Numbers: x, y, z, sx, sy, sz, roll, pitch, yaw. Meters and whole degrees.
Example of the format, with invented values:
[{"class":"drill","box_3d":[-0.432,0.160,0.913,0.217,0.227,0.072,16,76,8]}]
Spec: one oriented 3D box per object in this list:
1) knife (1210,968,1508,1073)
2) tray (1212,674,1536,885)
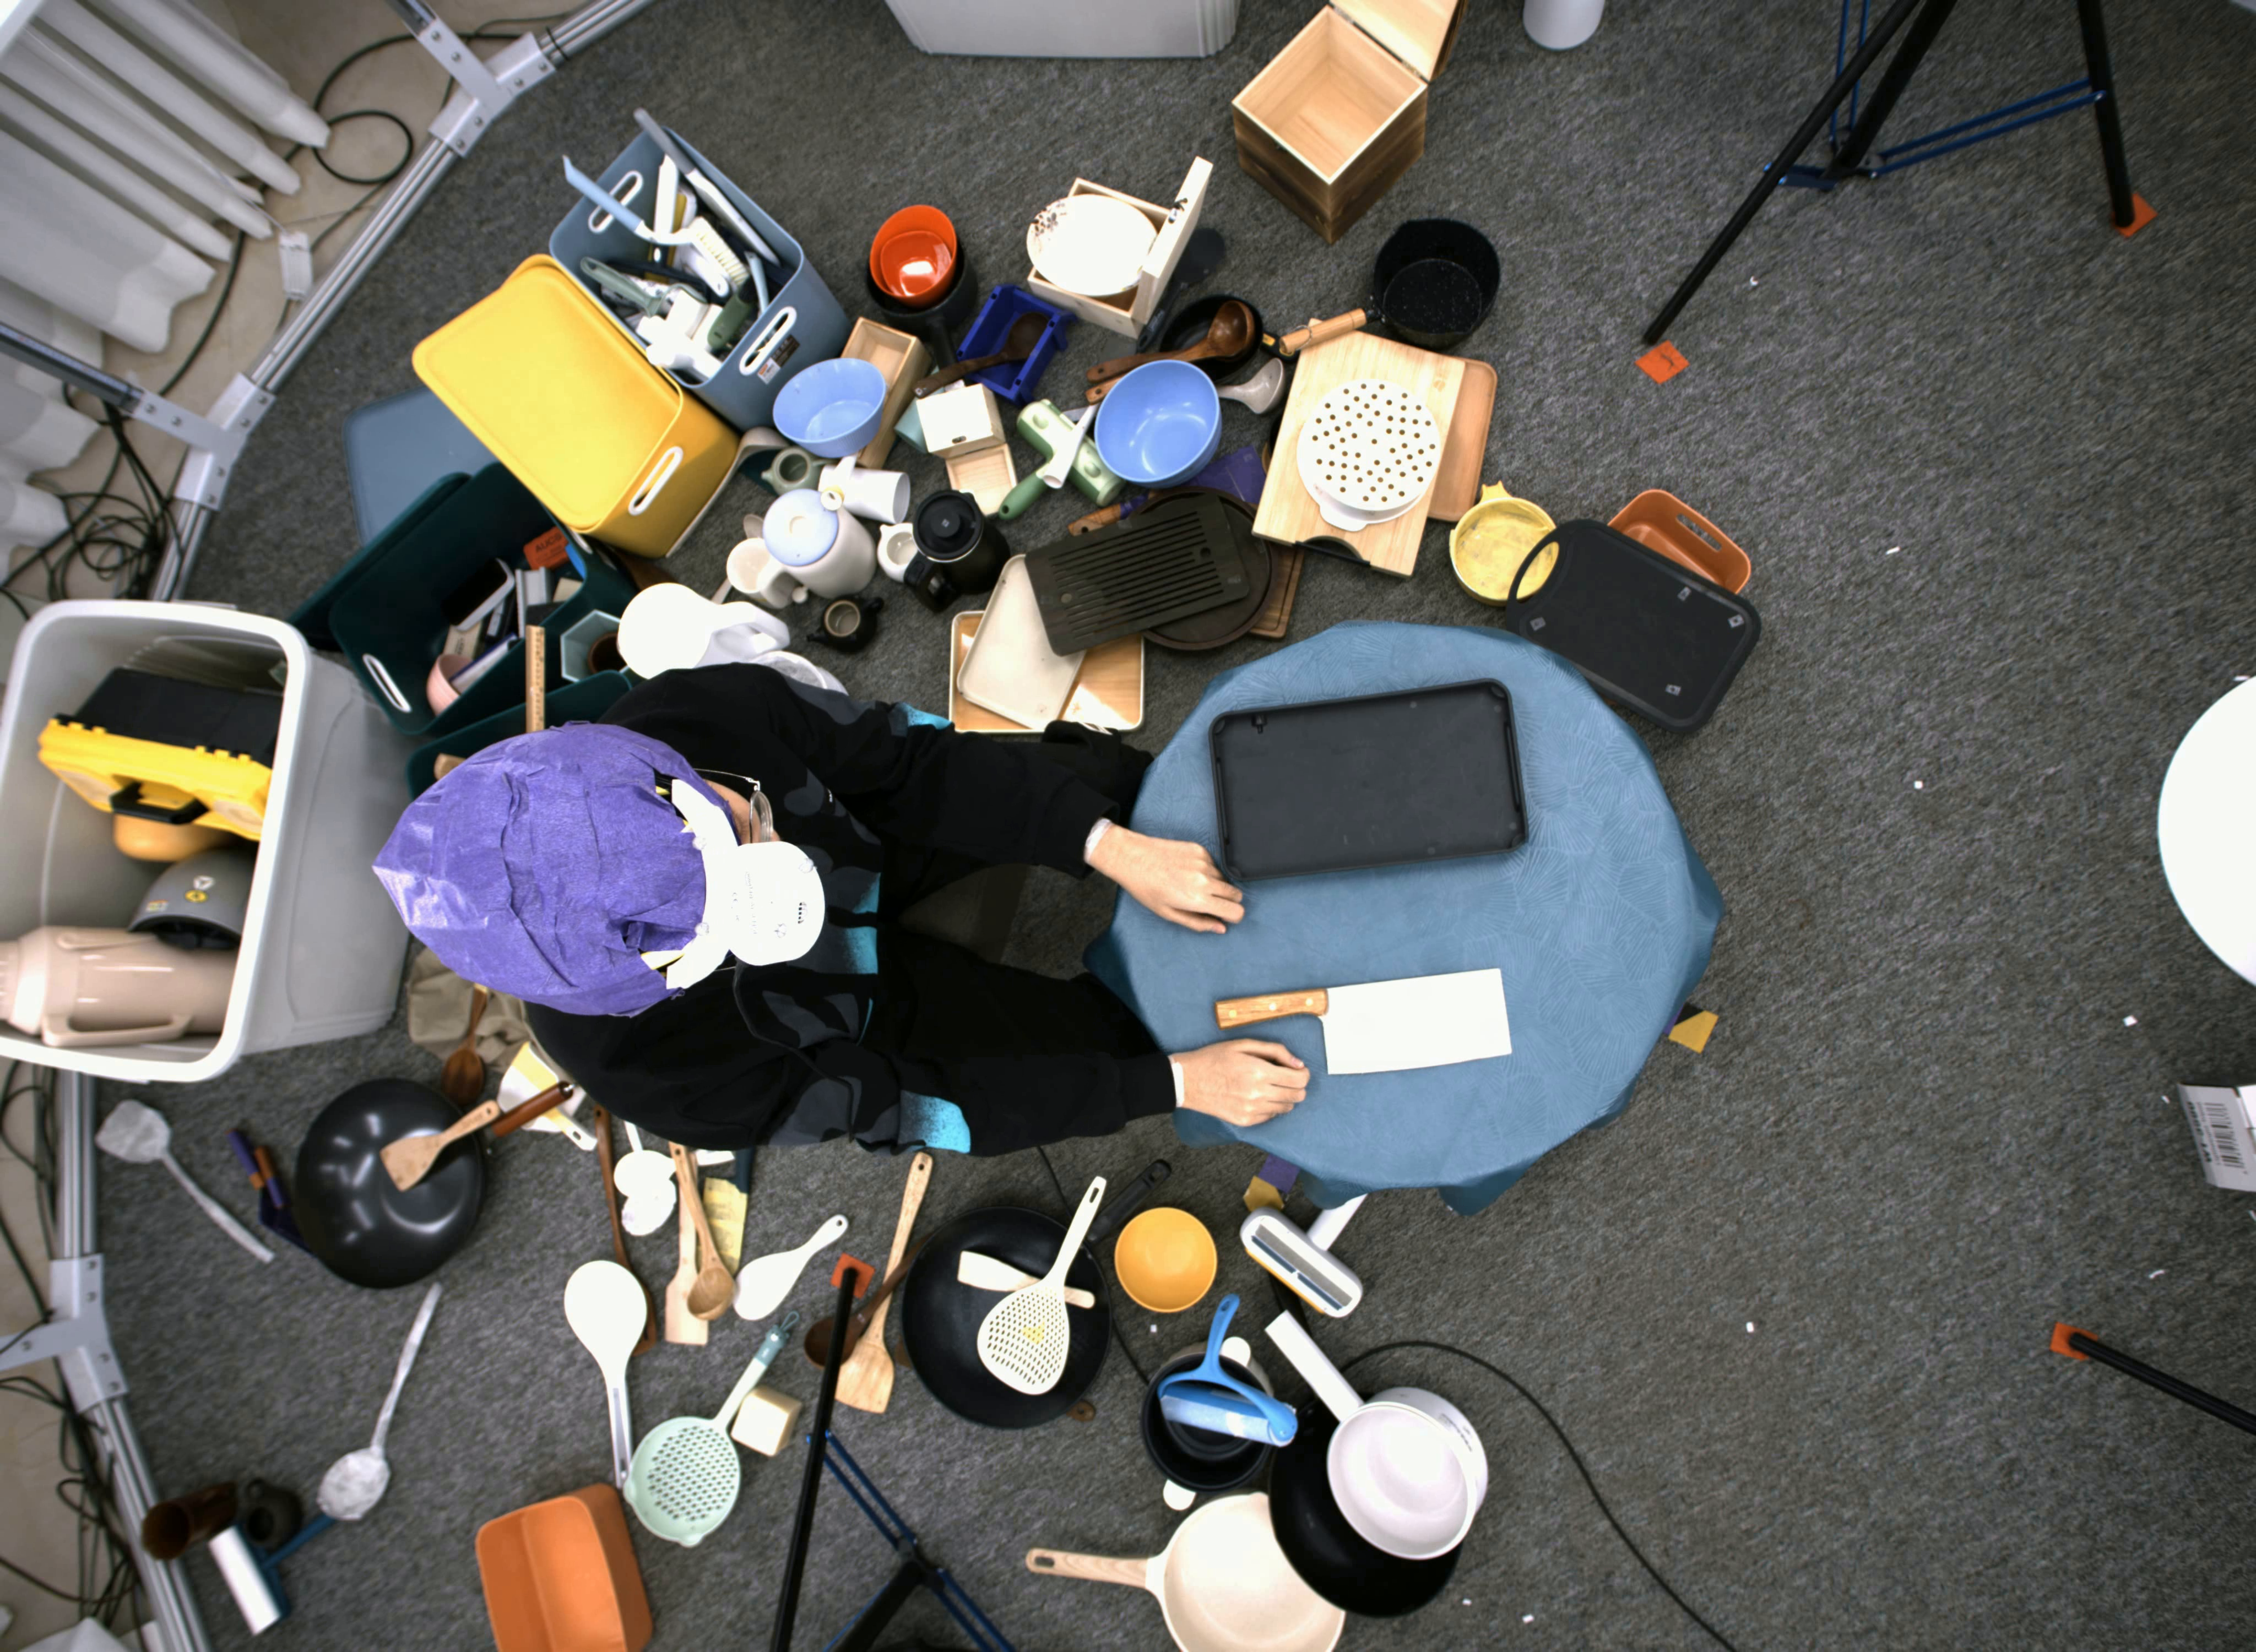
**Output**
[{"class":"knife","box_3d":[0.242,0.208,1.450,0.307,0.021,0.092,-8,87,8]},{"class":"tray","box_3d":[0.256,-0.048,1.451,0.319,0.037,0.183,-9,86,10]}]
